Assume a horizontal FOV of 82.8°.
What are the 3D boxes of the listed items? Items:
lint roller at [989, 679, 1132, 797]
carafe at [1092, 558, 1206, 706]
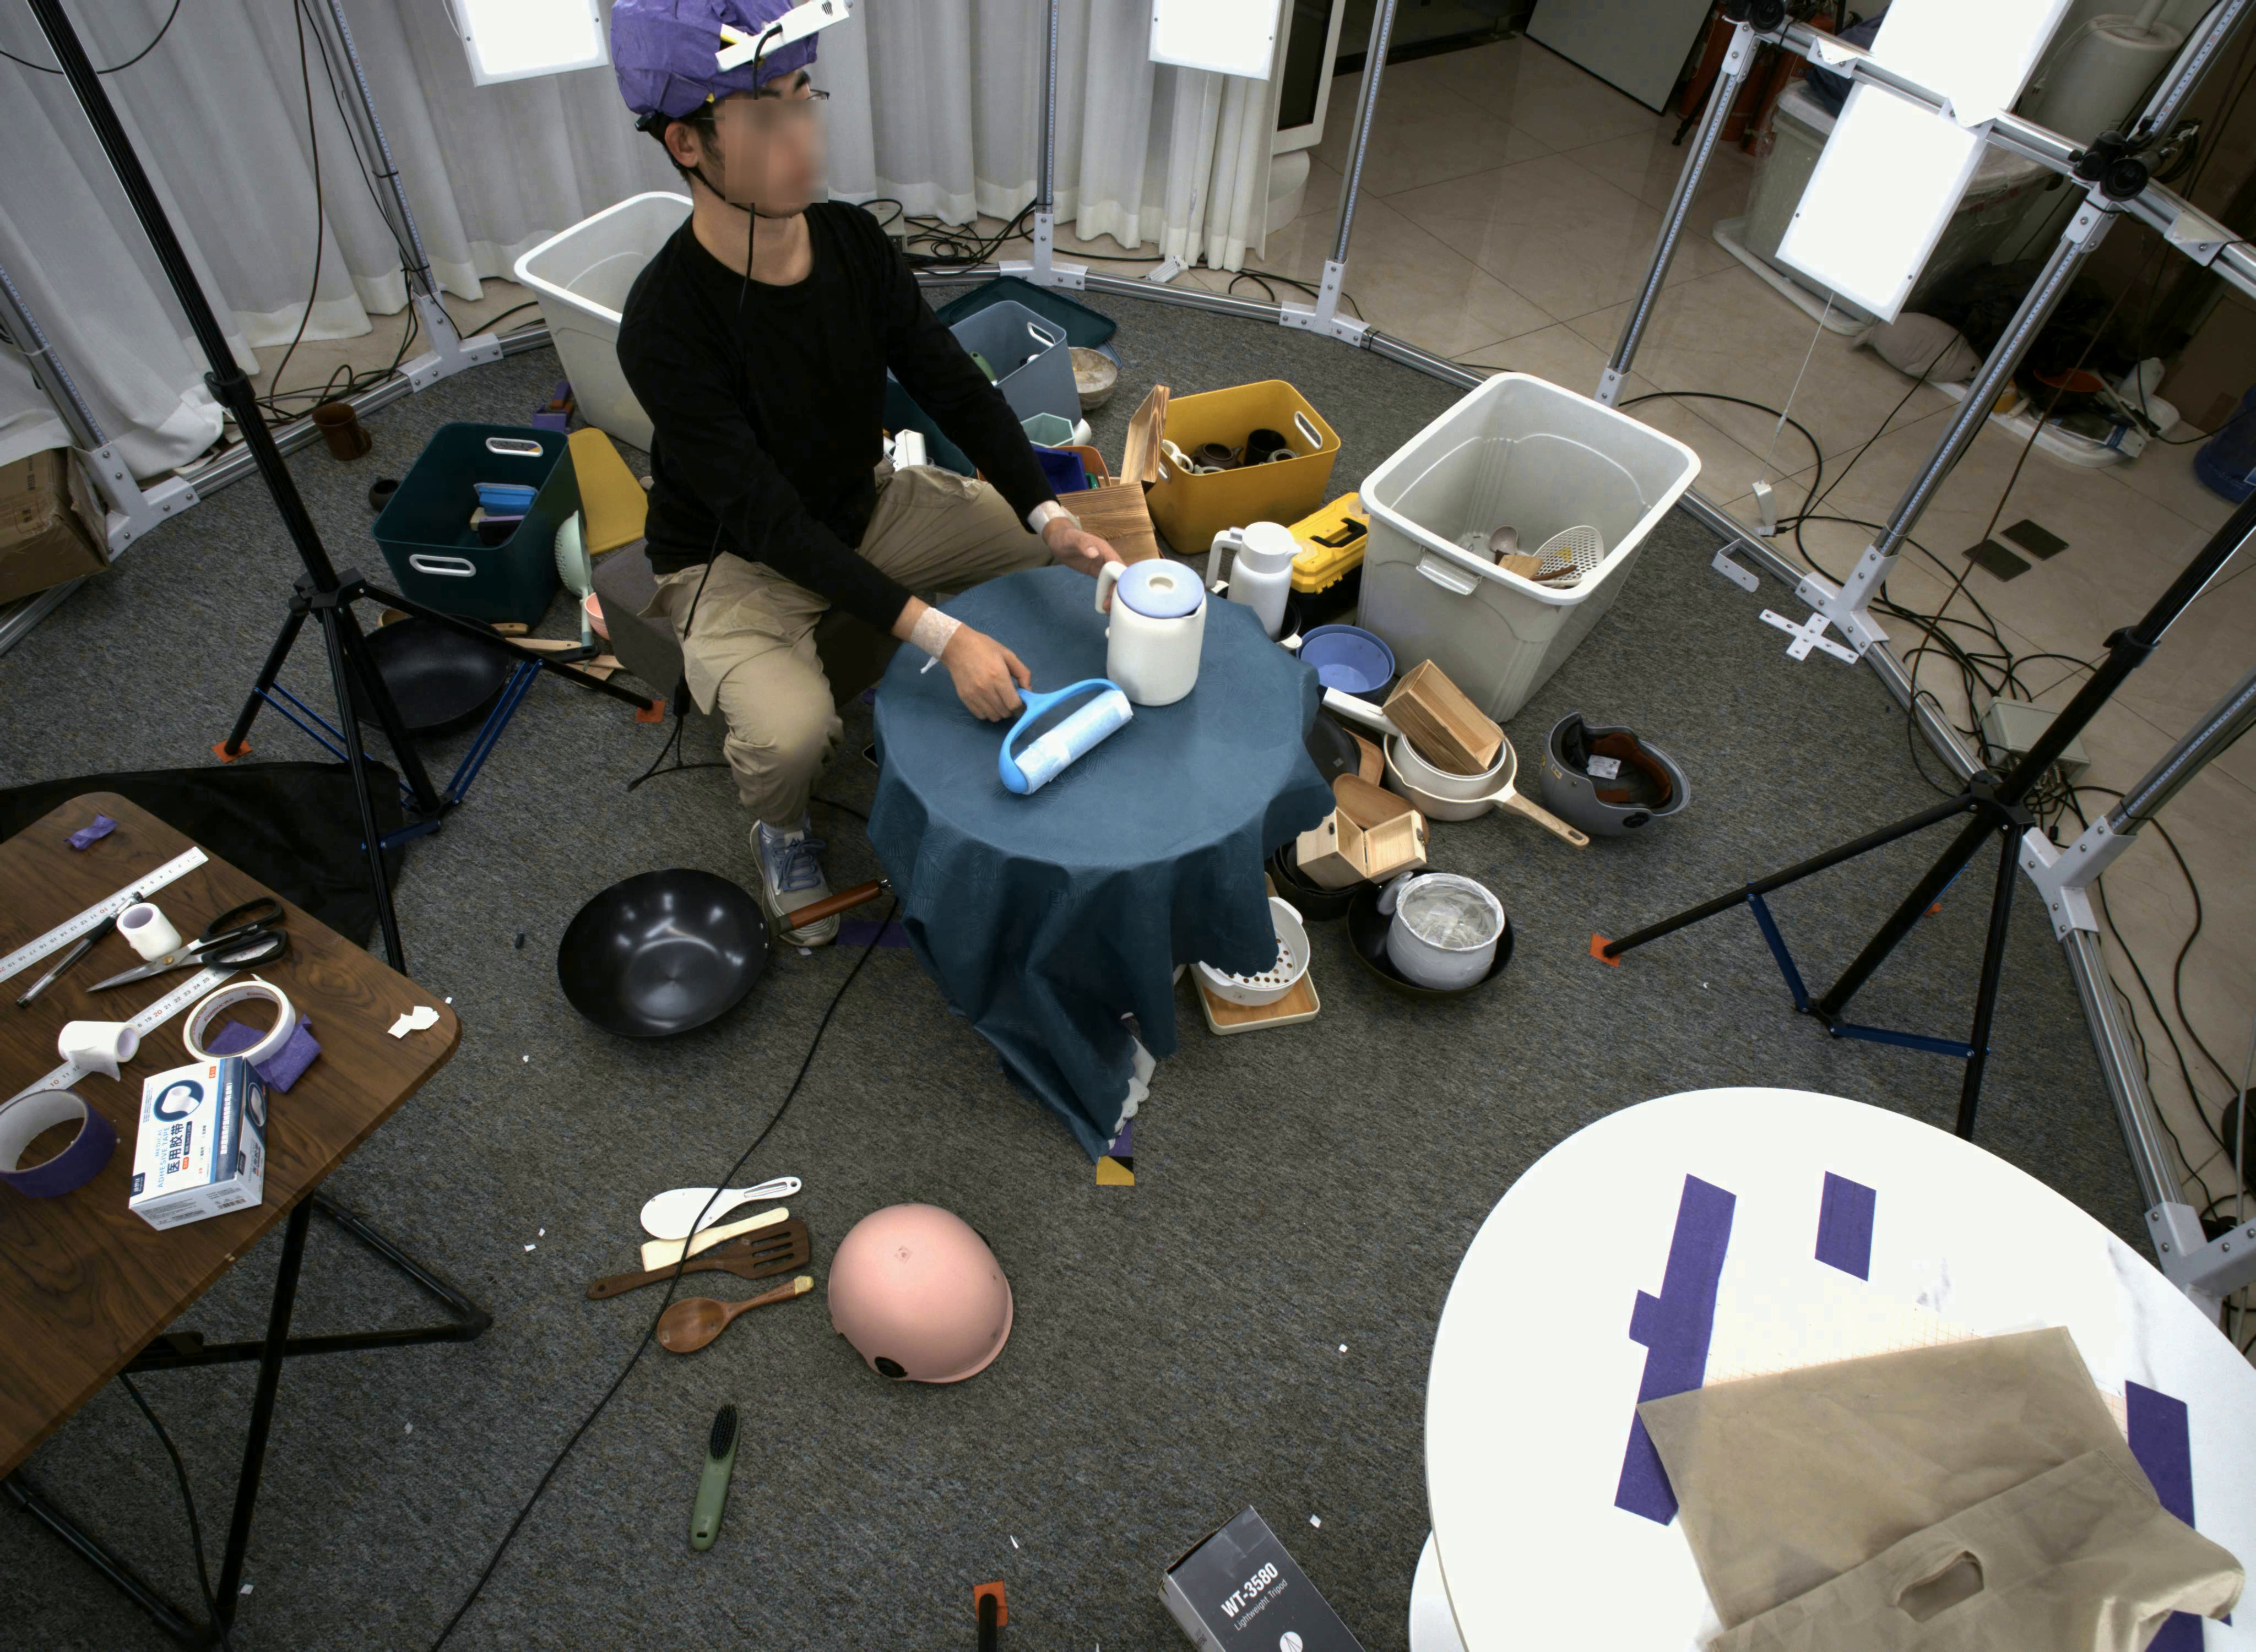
[{"bbox_3d":[-0.124,-0.151,1.752,0.182,0.066,0.231,38,60,18],"label":"lint roller"},{"bbox_3d":[0.021,-0.284,1.807,0.133,0.178,0.194,-35,58,-30],"label":"carafe"}]
